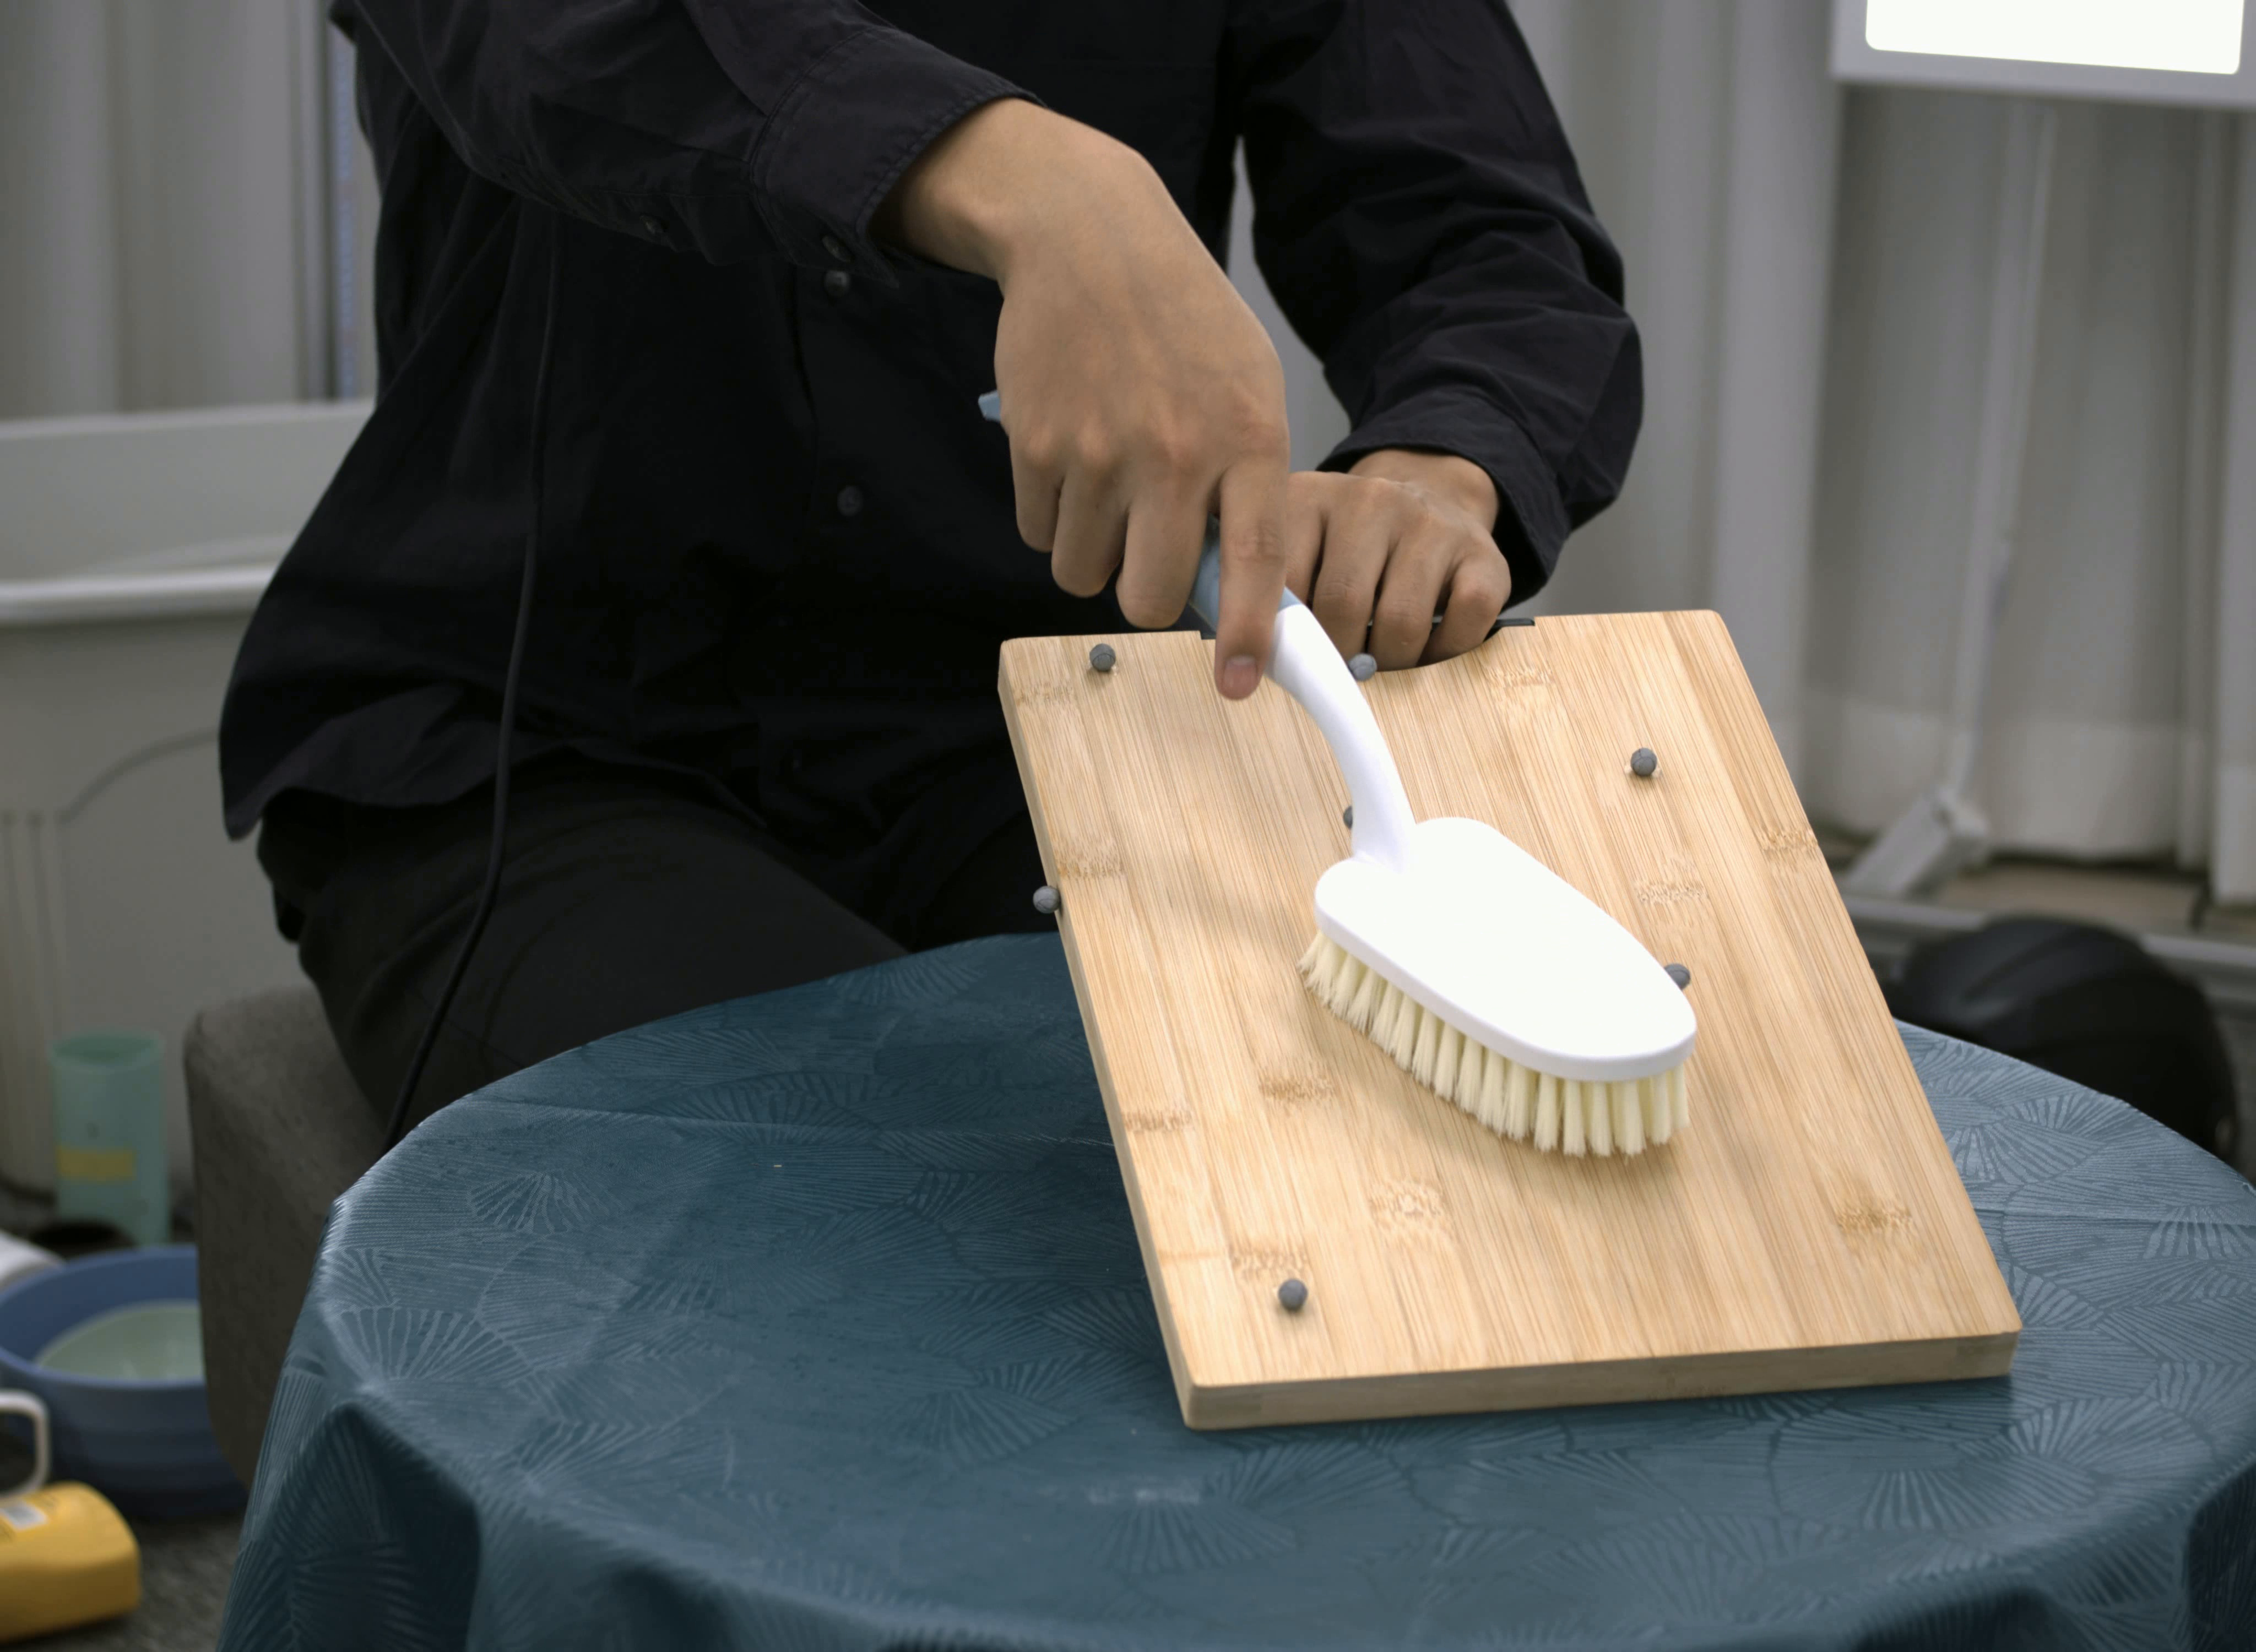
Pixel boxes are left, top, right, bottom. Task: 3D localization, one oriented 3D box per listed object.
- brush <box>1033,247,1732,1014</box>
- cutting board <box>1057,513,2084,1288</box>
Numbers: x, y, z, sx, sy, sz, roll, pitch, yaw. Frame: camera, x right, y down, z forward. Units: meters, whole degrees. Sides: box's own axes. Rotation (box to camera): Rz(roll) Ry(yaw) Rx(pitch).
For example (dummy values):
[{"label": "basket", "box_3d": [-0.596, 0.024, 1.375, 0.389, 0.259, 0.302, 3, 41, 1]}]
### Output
[{"label": "brush", "box_3d": [0.072, -0.053, 1.615, 0.322, 0.084, 0.084, 47, 17, 26]}, {"label": "cutting board", "box_3d": [0.125, 0.015, 1.617, 0.251, 0.024, 0.344, -3, 40, -13]}]
